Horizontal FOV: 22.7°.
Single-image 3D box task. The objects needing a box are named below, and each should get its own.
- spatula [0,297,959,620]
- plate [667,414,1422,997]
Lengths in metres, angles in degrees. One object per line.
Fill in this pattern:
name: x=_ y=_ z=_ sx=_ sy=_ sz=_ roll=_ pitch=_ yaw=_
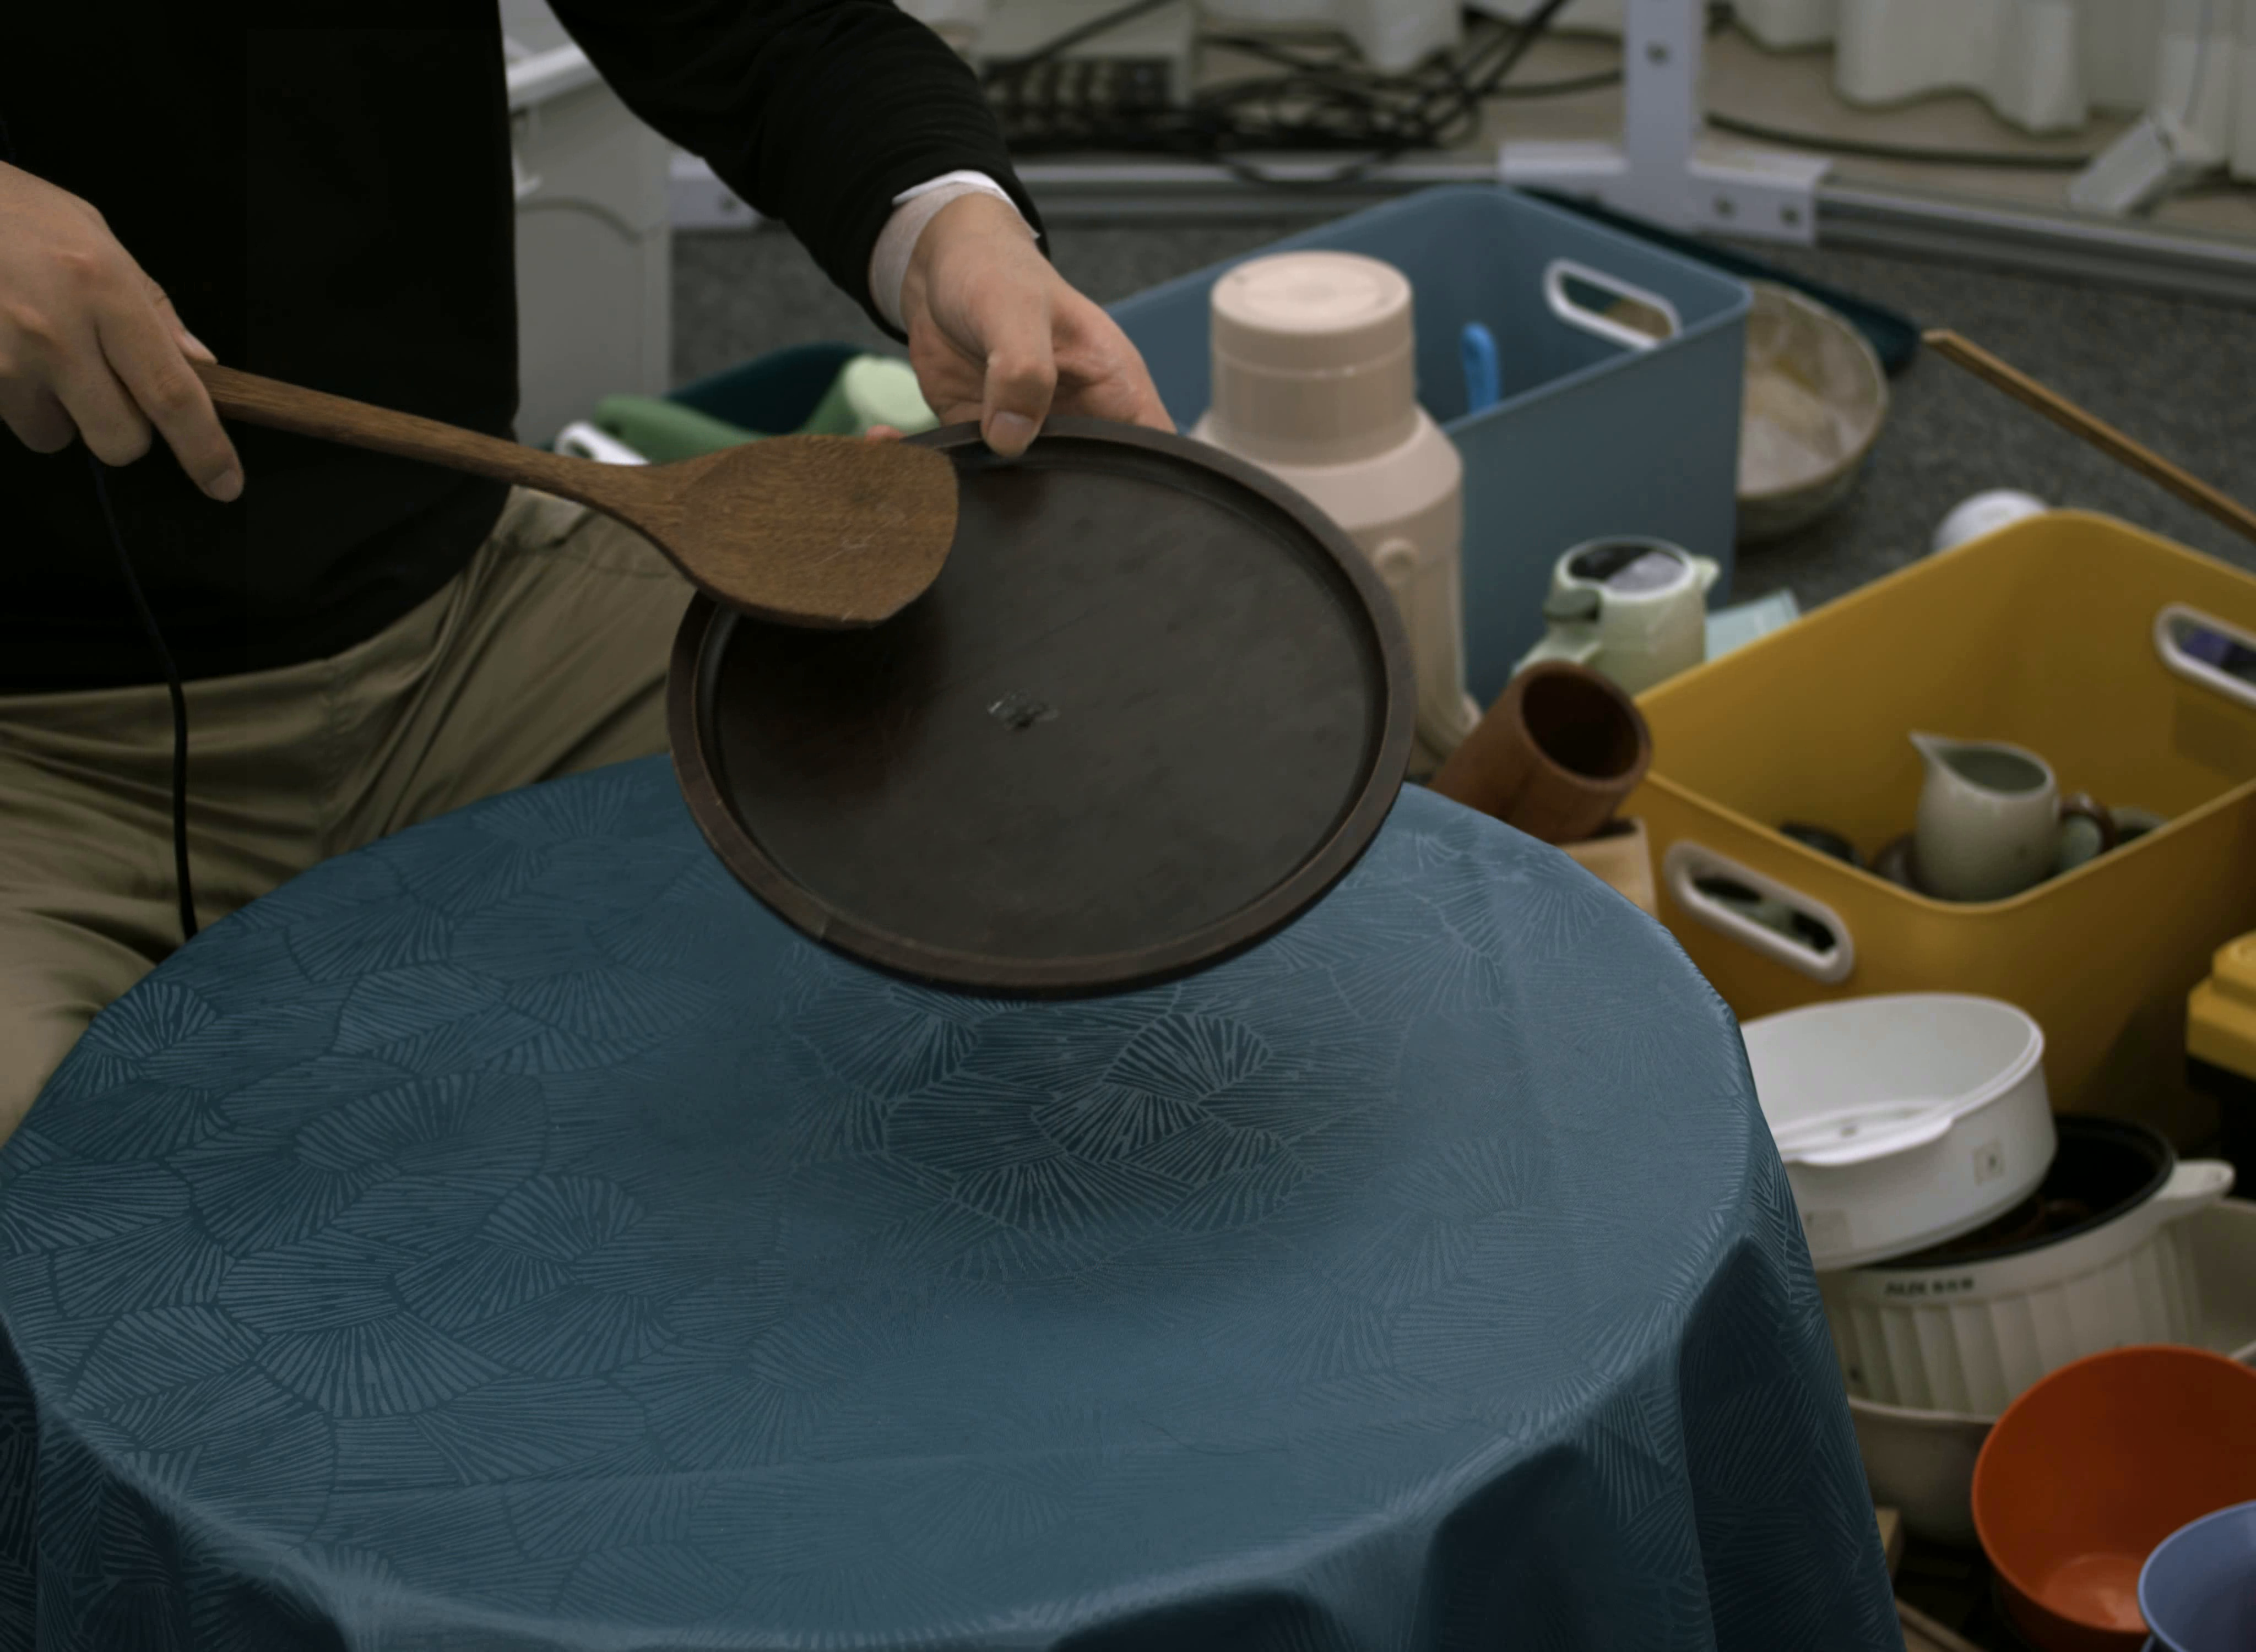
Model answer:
spatula: x=-0.246 y=-0.134 z=1.898 sx=0.384 sy=0.015 sz=0.098 roll=13 pitch=44 yaw=3
plate: x=-0.028 y=-0.042 z=1.883 sx=0.253 sy=0.028 sz=0.260 roll=0 pitch=50 yaw=1
